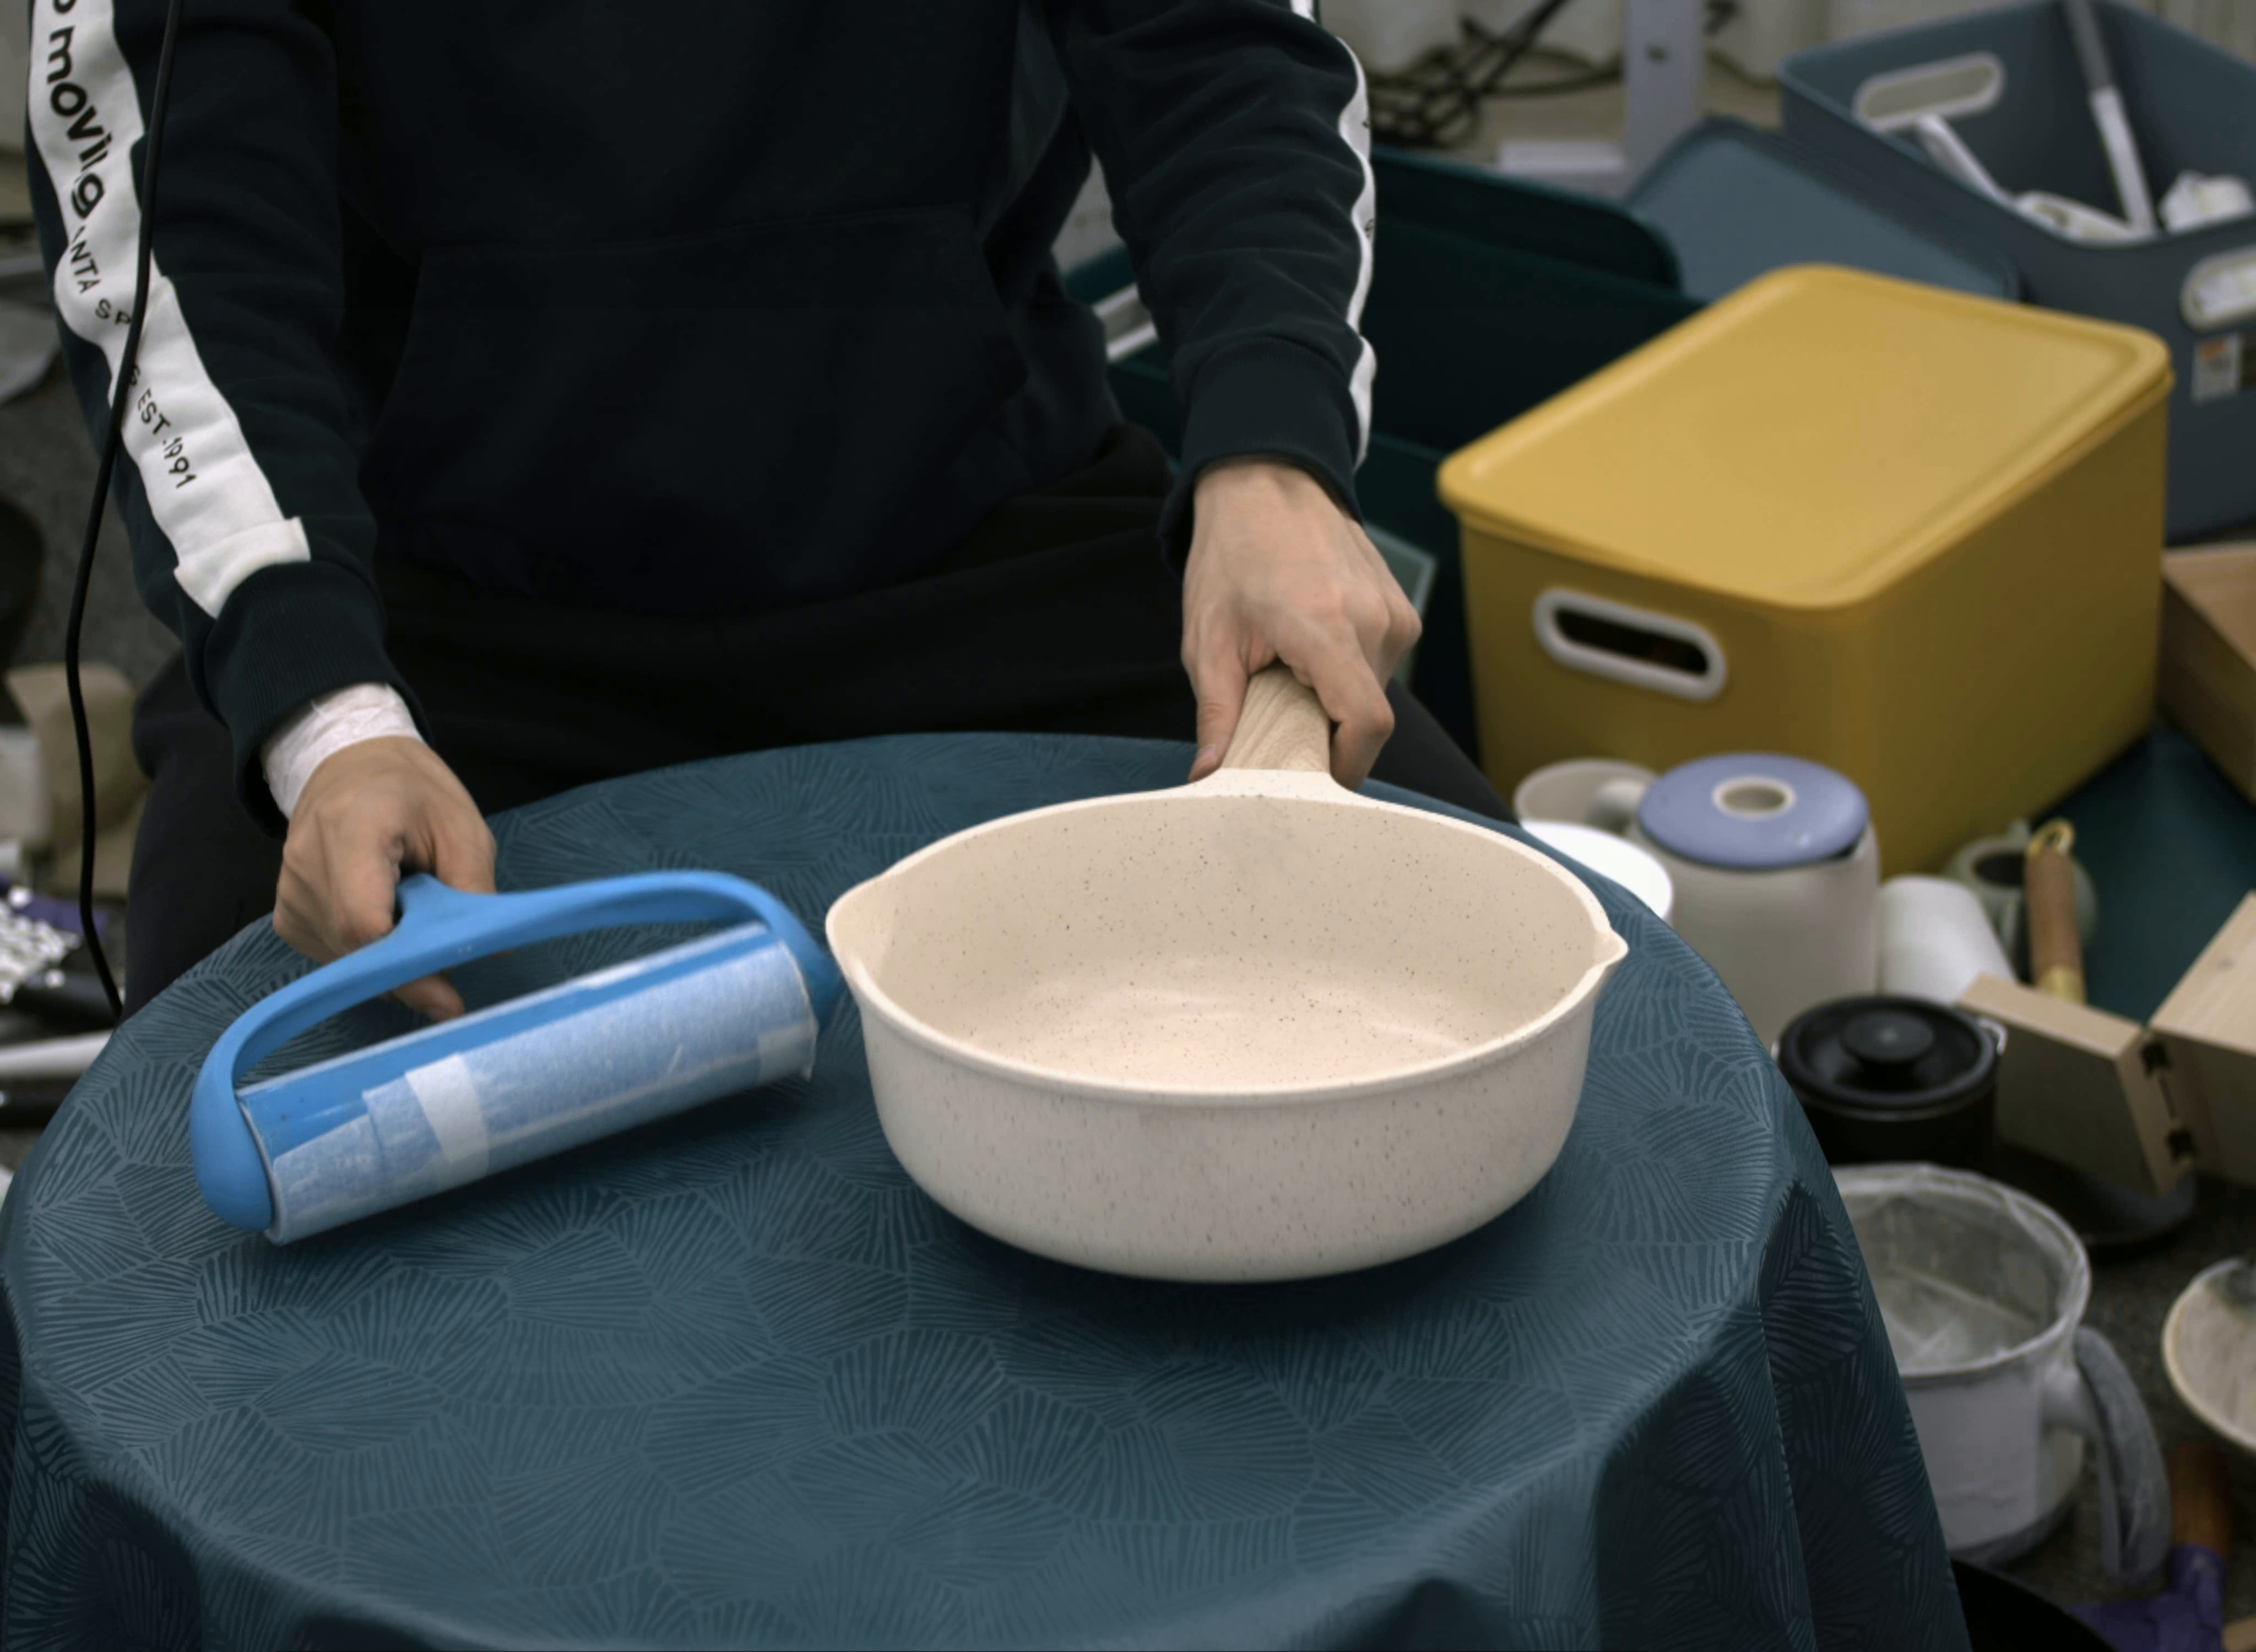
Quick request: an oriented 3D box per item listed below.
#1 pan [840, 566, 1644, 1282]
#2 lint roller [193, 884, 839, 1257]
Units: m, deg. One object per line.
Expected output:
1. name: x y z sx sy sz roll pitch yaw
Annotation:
1. pan: 0.048 0.030 1.925 0.262 0.101 0.441 1 22 6
2. lint roller: -0.232 0.059 1.919 0.230 0.067 0.181 -20 39 -24
